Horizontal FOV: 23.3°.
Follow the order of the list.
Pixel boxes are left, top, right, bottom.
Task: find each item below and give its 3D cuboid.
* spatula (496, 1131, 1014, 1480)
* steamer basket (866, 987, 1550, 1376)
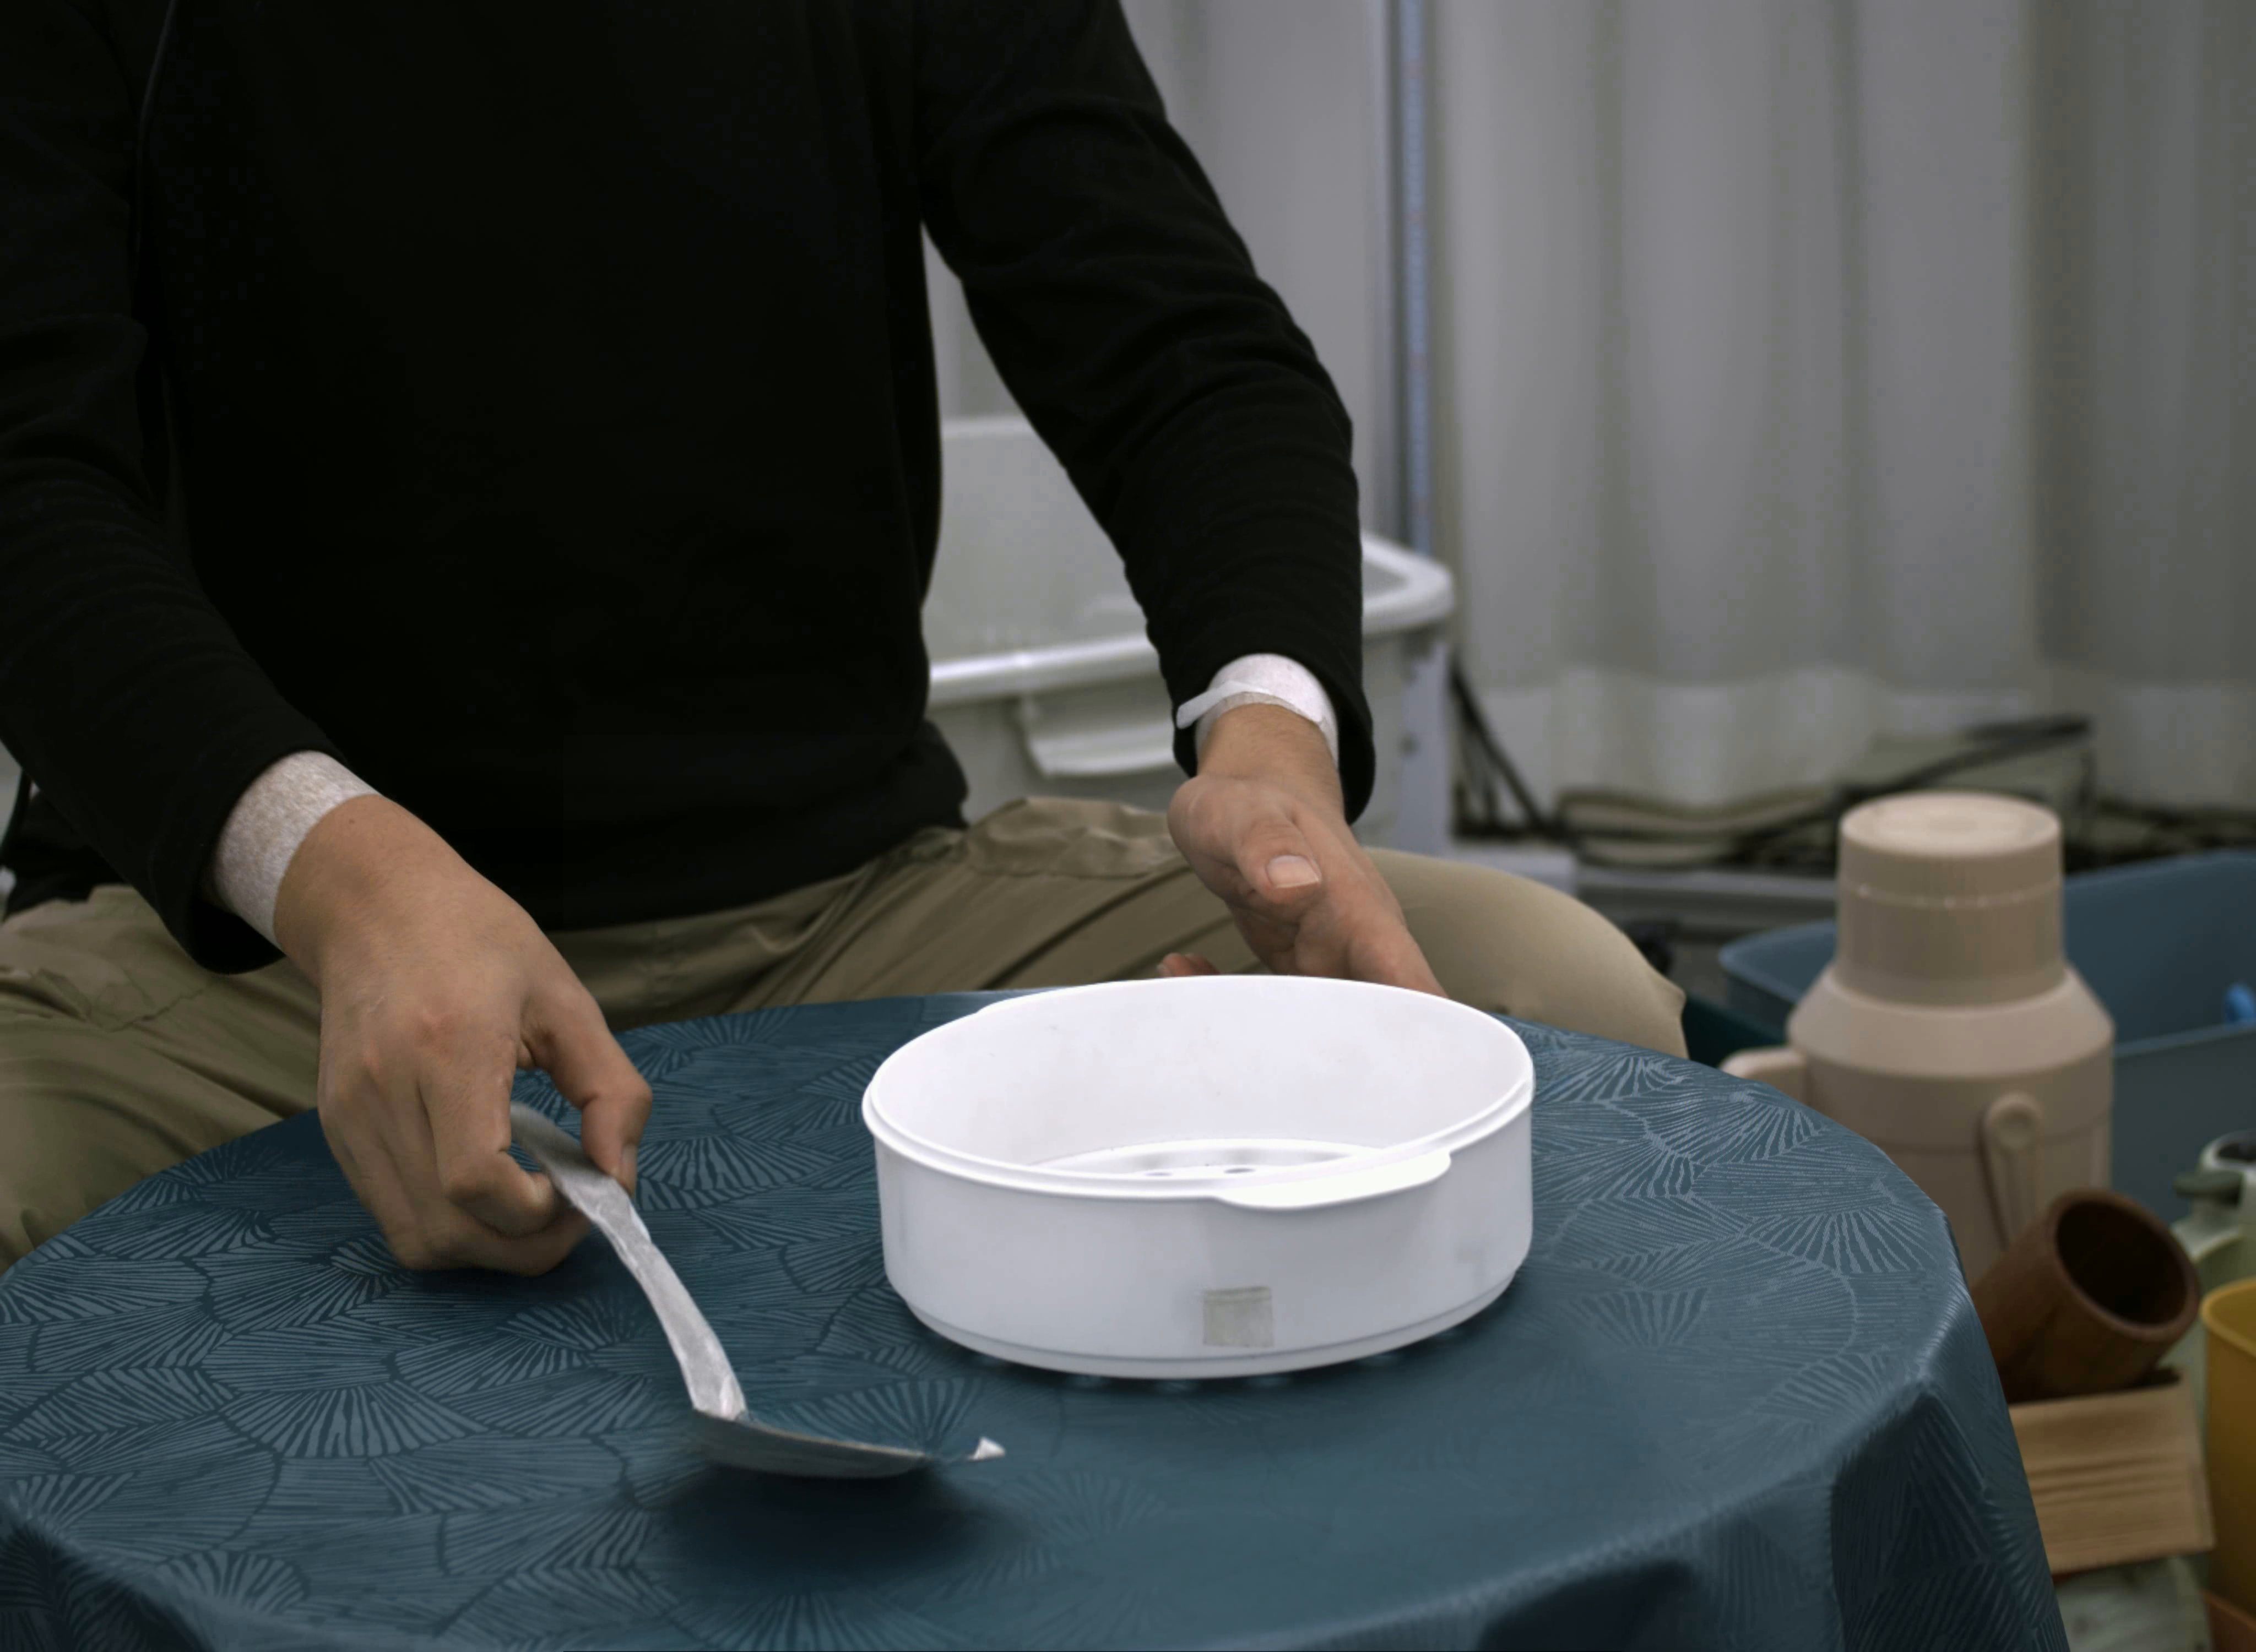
[{"bbox_3d":[-0.133,0.129,1.580,0.098,0.044,0.368,8,13,-22],"label":"spatula"},{"bbox_3d":[0.024,0.104,1.614,0.201,0.069,0.232,-7,14,-21],"label":"steamer basket"}]
